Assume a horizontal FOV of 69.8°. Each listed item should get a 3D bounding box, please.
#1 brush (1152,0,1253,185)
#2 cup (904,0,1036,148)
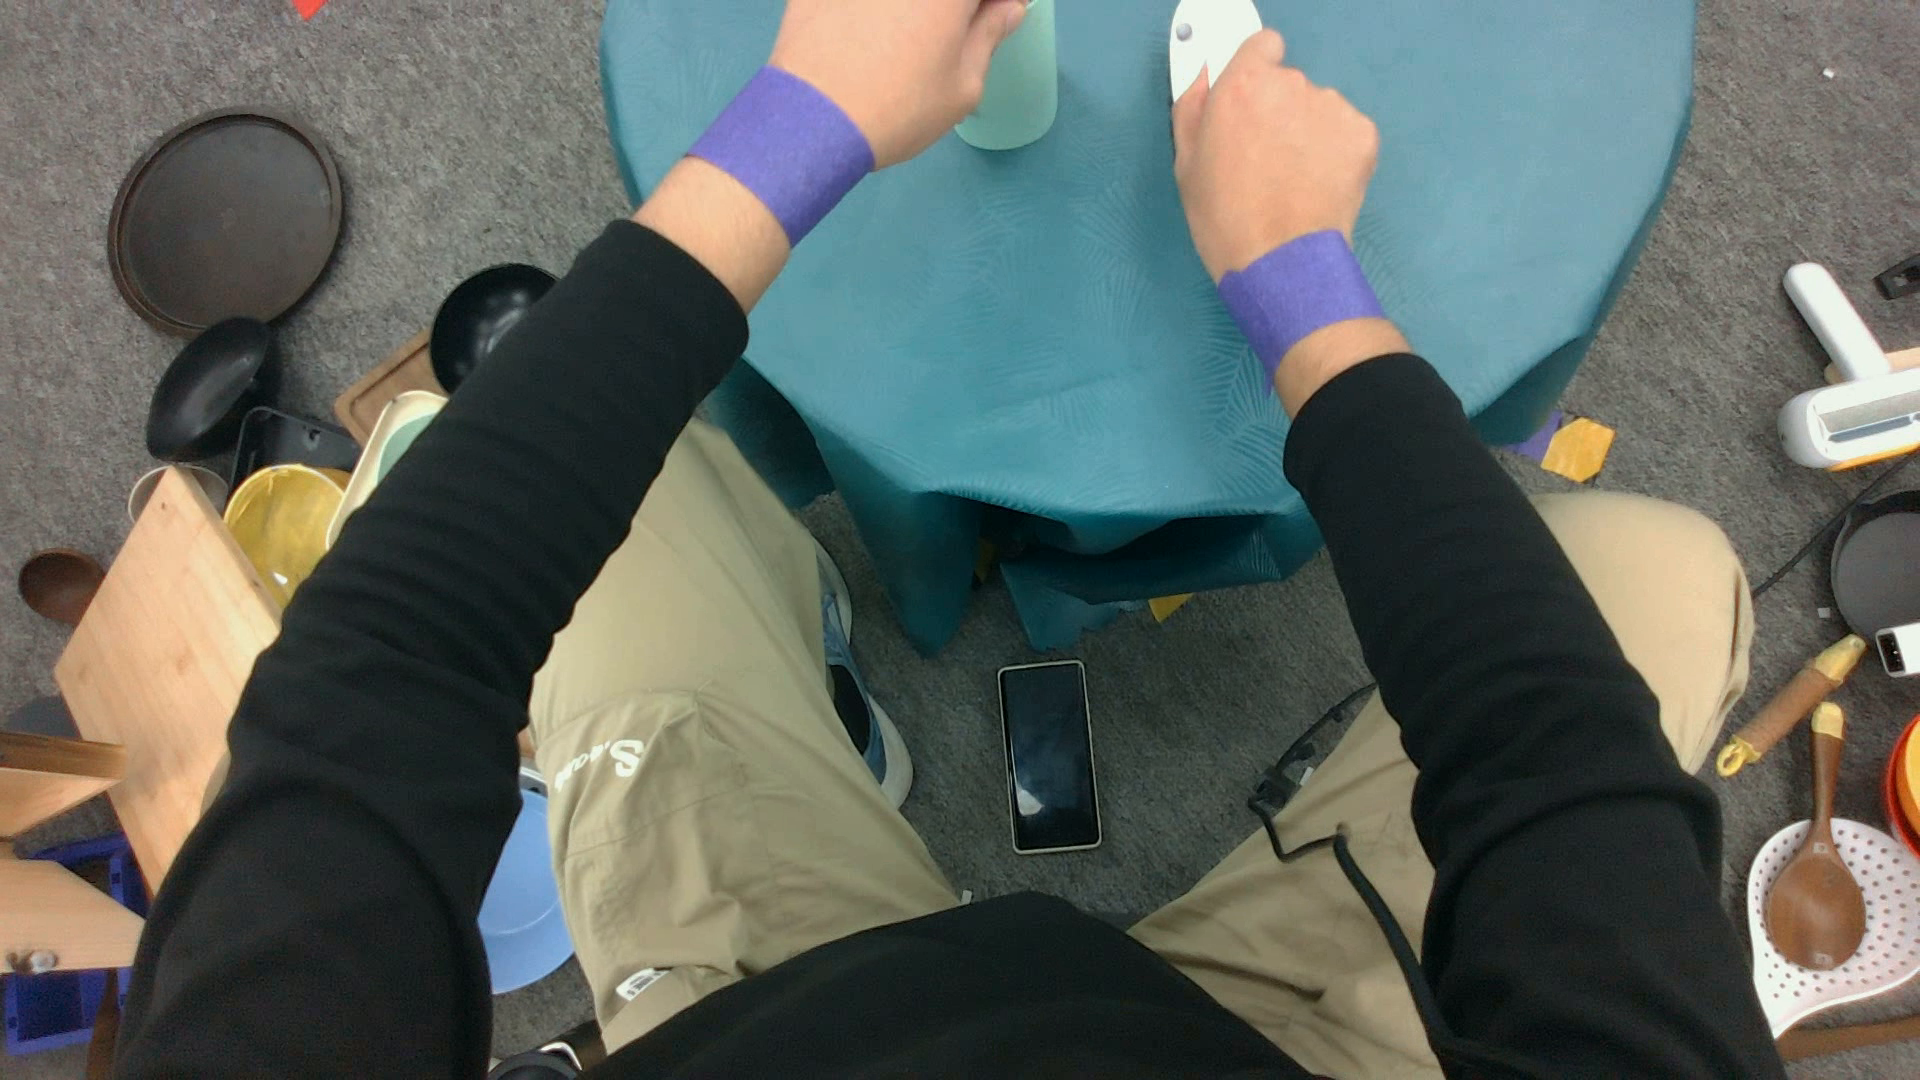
[{"bbox_3d":[0.127,-0.245,0.716,0.050,0.072,0.099,-4,79,6],"label":"brush"},{"bbox_3d":[0.009,-0.258,0.702,0.067,0.132,0.067,-1,80,4],"label":"cup"}]
